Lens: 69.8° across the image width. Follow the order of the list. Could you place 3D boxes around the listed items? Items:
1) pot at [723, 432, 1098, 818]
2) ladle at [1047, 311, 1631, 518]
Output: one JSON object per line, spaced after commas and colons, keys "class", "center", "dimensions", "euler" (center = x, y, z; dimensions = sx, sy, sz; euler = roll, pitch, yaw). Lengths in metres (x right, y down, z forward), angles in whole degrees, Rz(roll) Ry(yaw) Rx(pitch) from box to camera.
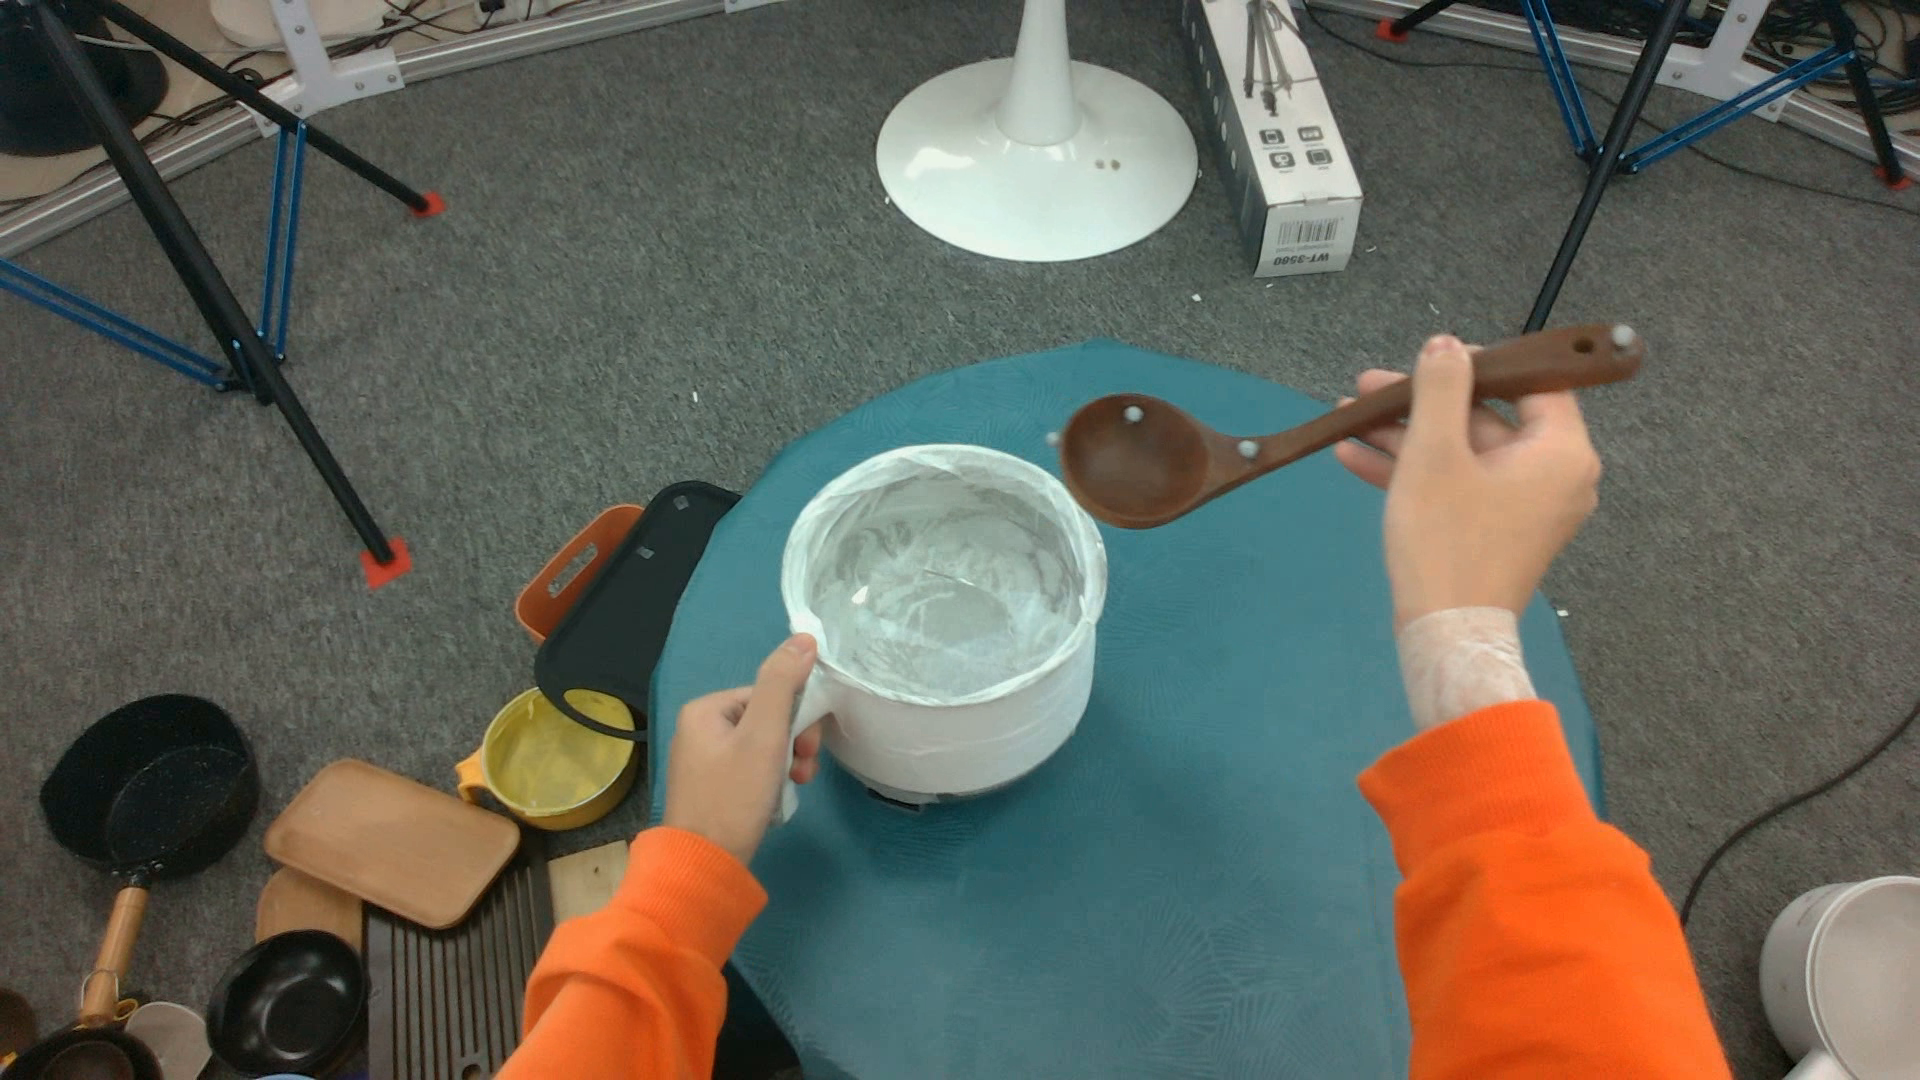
{"class": "pot", "center": [-0.035, 0.061, 0.779], "dimensions": [0.234, 0.136, 0.179], "euler": [-36, 61, -25]}
{"class": "ladle", "center": [0.158, -0.066, 0.622], "dimensions": [0.259, 0.065, 0.077], "euler": [-15, 59, 35]}
